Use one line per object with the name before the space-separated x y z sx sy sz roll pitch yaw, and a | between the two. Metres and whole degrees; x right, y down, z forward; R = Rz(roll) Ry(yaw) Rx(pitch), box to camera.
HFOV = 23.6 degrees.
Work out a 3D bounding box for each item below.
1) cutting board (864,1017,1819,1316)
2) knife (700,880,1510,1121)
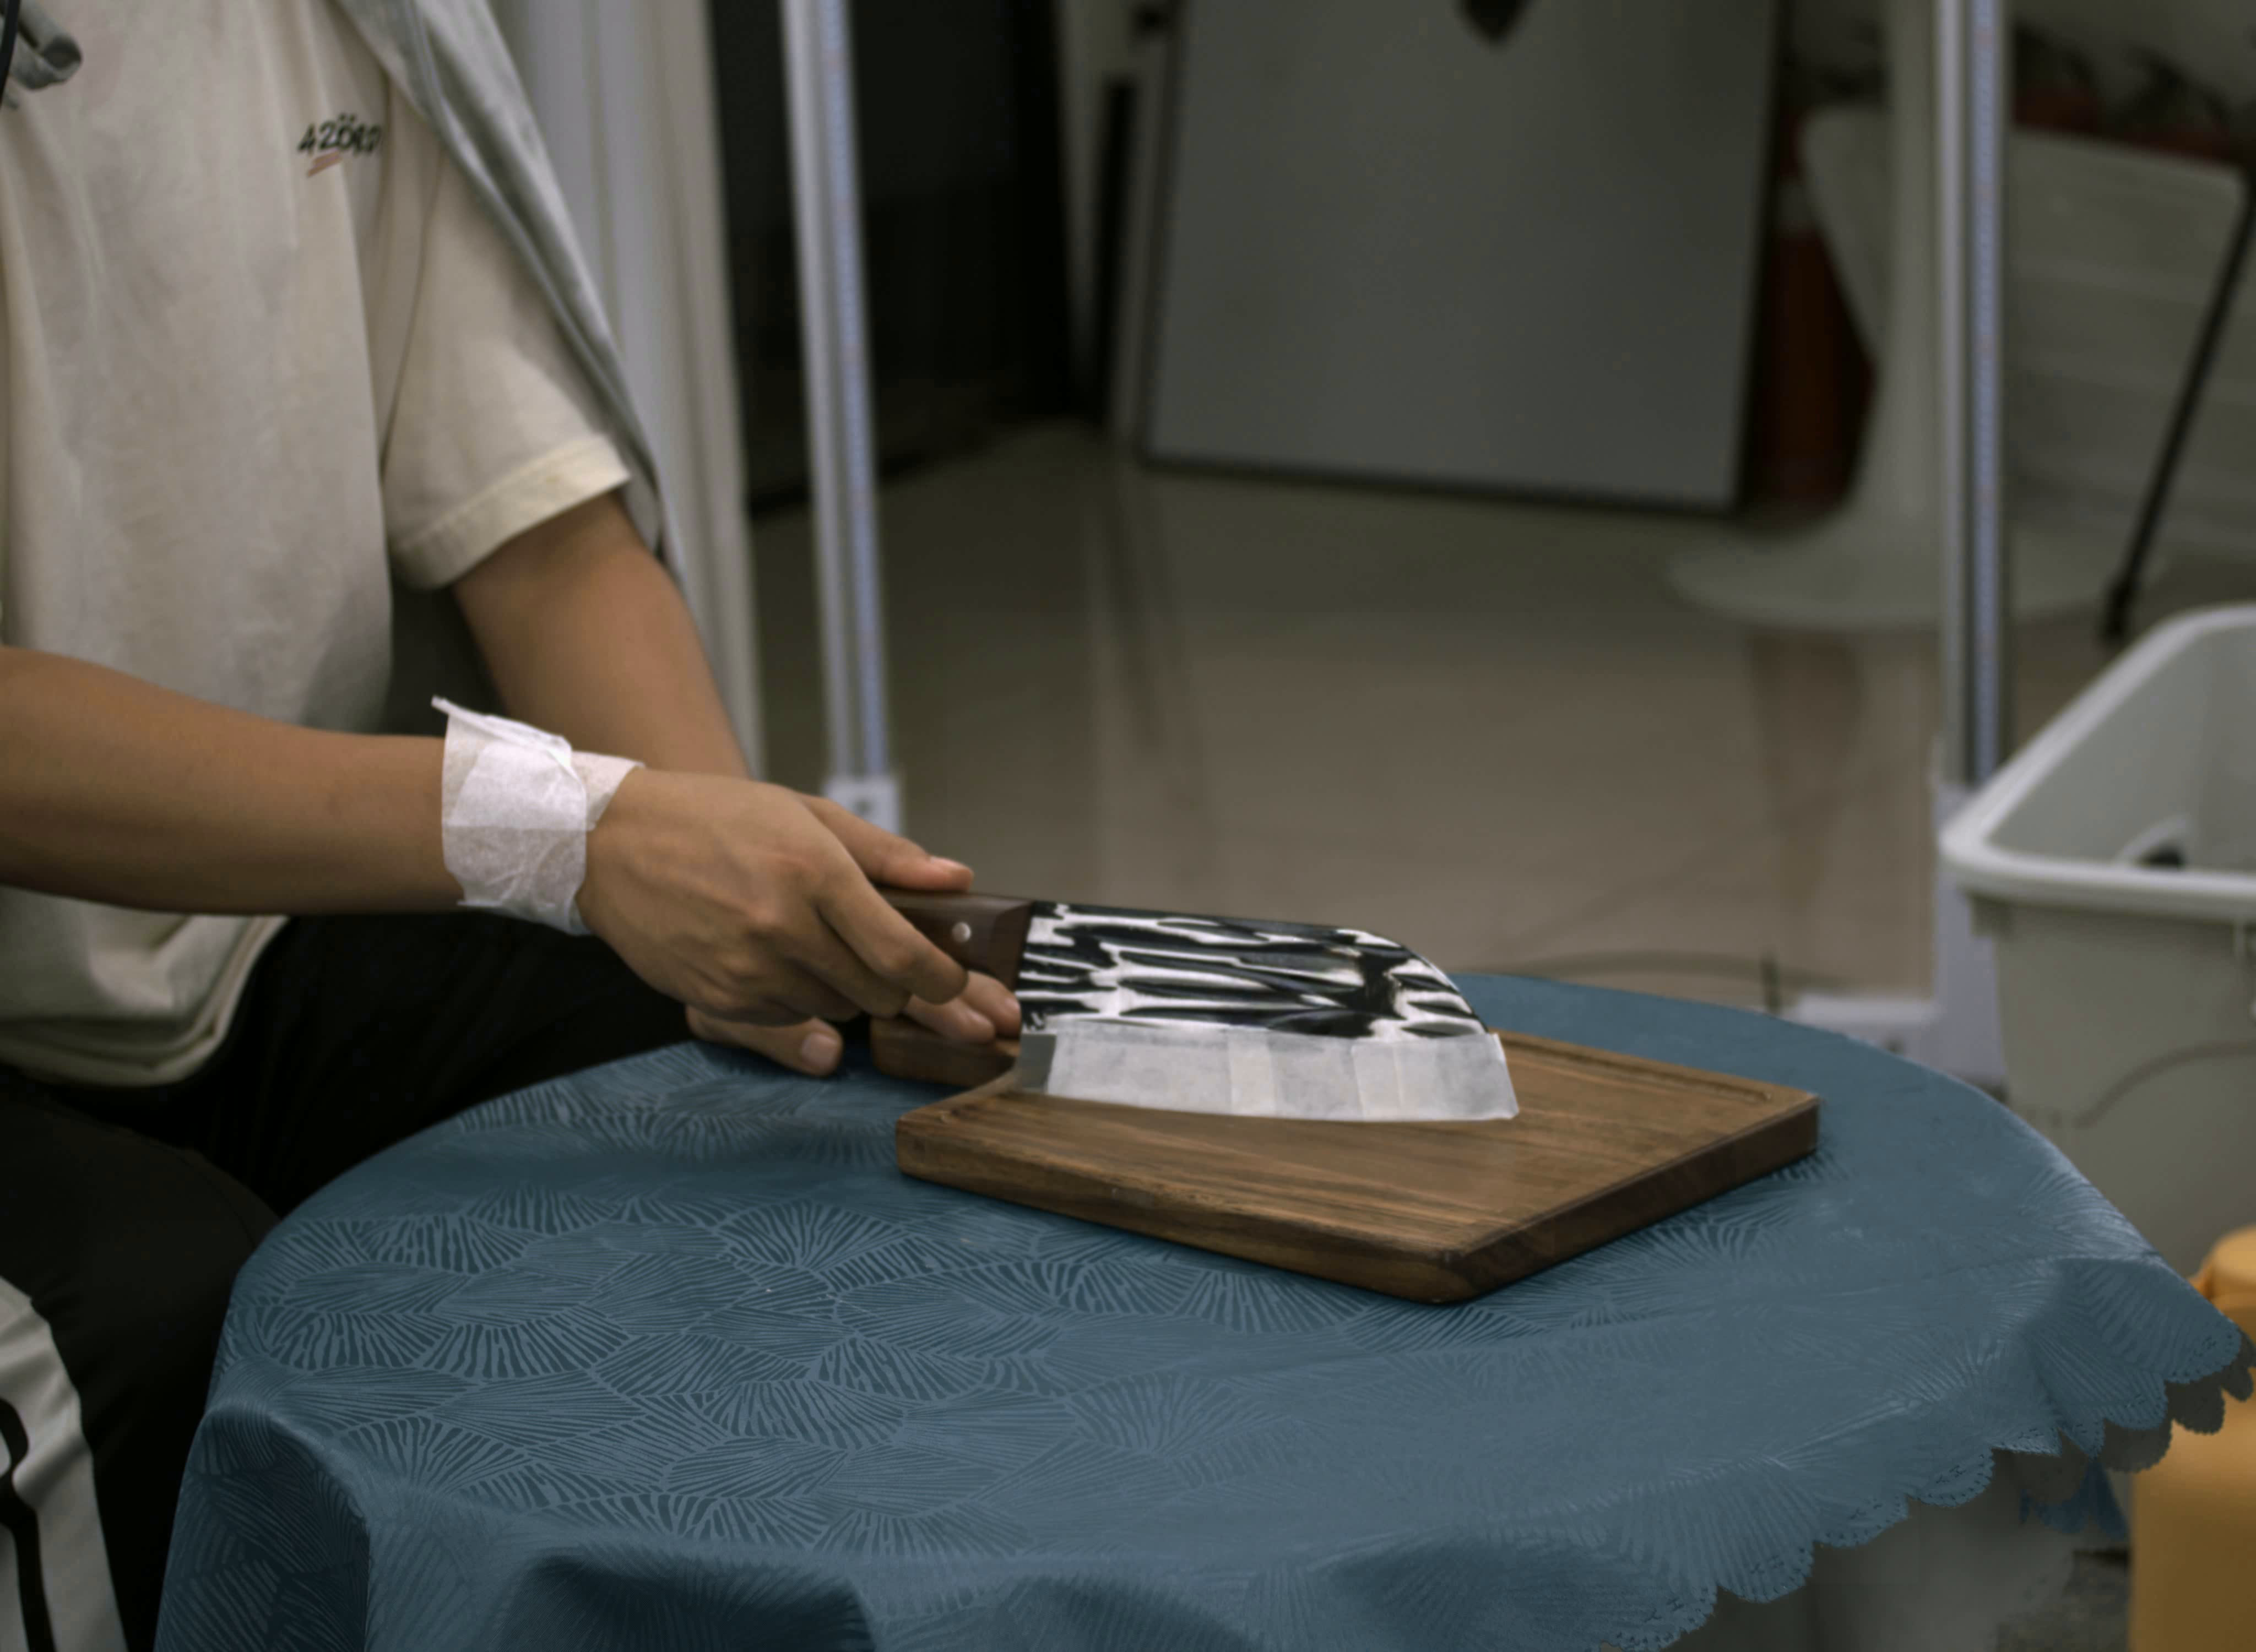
cutting board | 0.040 0.099 1.820 0.355 0.023 0.197 8 20 44
knife | -0.011 0.059 1.813 0.299 0.069 0.023 5 6 23
